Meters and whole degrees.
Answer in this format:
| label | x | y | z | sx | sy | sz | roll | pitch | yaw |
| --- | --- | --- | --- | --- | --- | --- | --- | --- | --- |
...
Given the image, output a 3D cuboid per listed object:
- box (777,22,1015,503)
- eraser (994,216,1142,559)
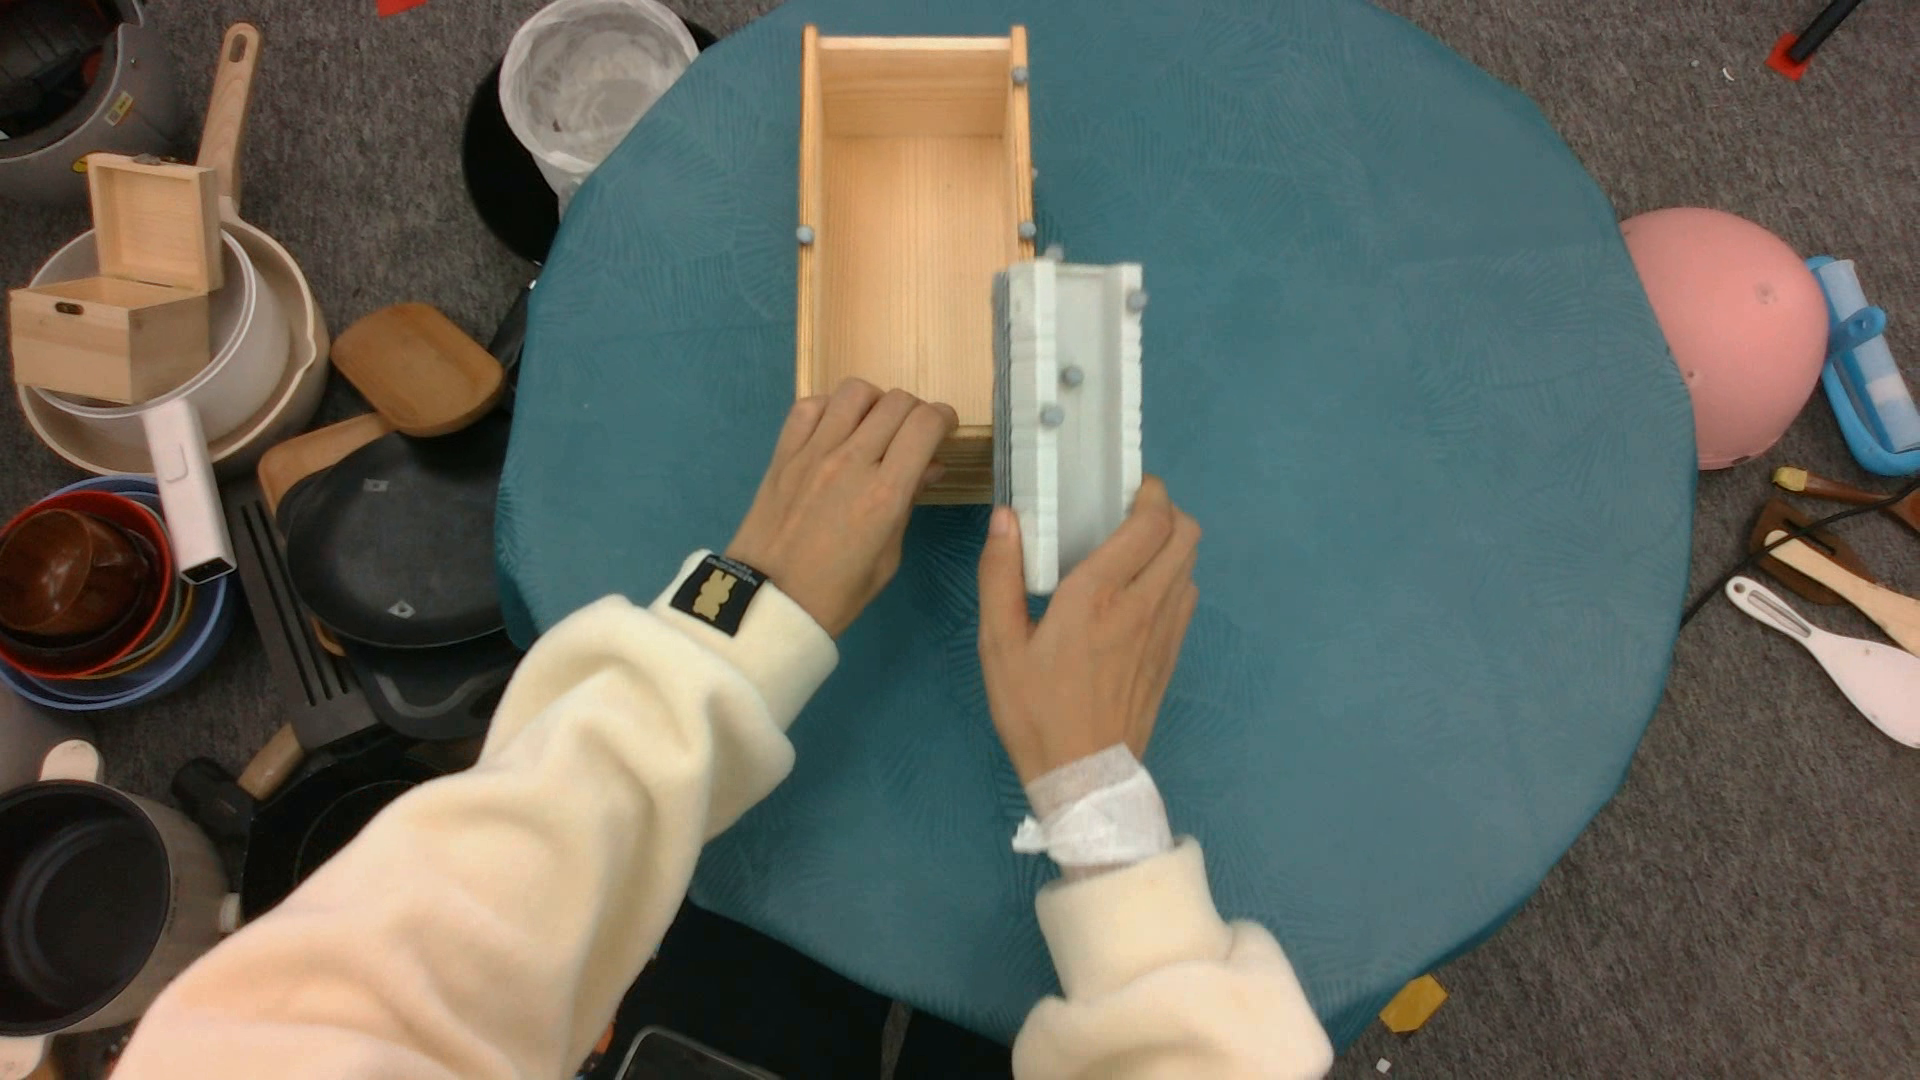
| label | x | y | z | sx | sy | sz | roll | pitch | yaw |
| --- | --- | --- | --- | --- | --- | --- | --- | --- | --- |
| box | -0.029 | -0.131 | 0.648 | 0.107 | 0.080 | 0.212 | -3 | 70 | -3 |
| eraser | 0.043 | -0.061 | 0.563 | 0.050 | 0.046 | 0.134 | -3 | 94 | -29 |
